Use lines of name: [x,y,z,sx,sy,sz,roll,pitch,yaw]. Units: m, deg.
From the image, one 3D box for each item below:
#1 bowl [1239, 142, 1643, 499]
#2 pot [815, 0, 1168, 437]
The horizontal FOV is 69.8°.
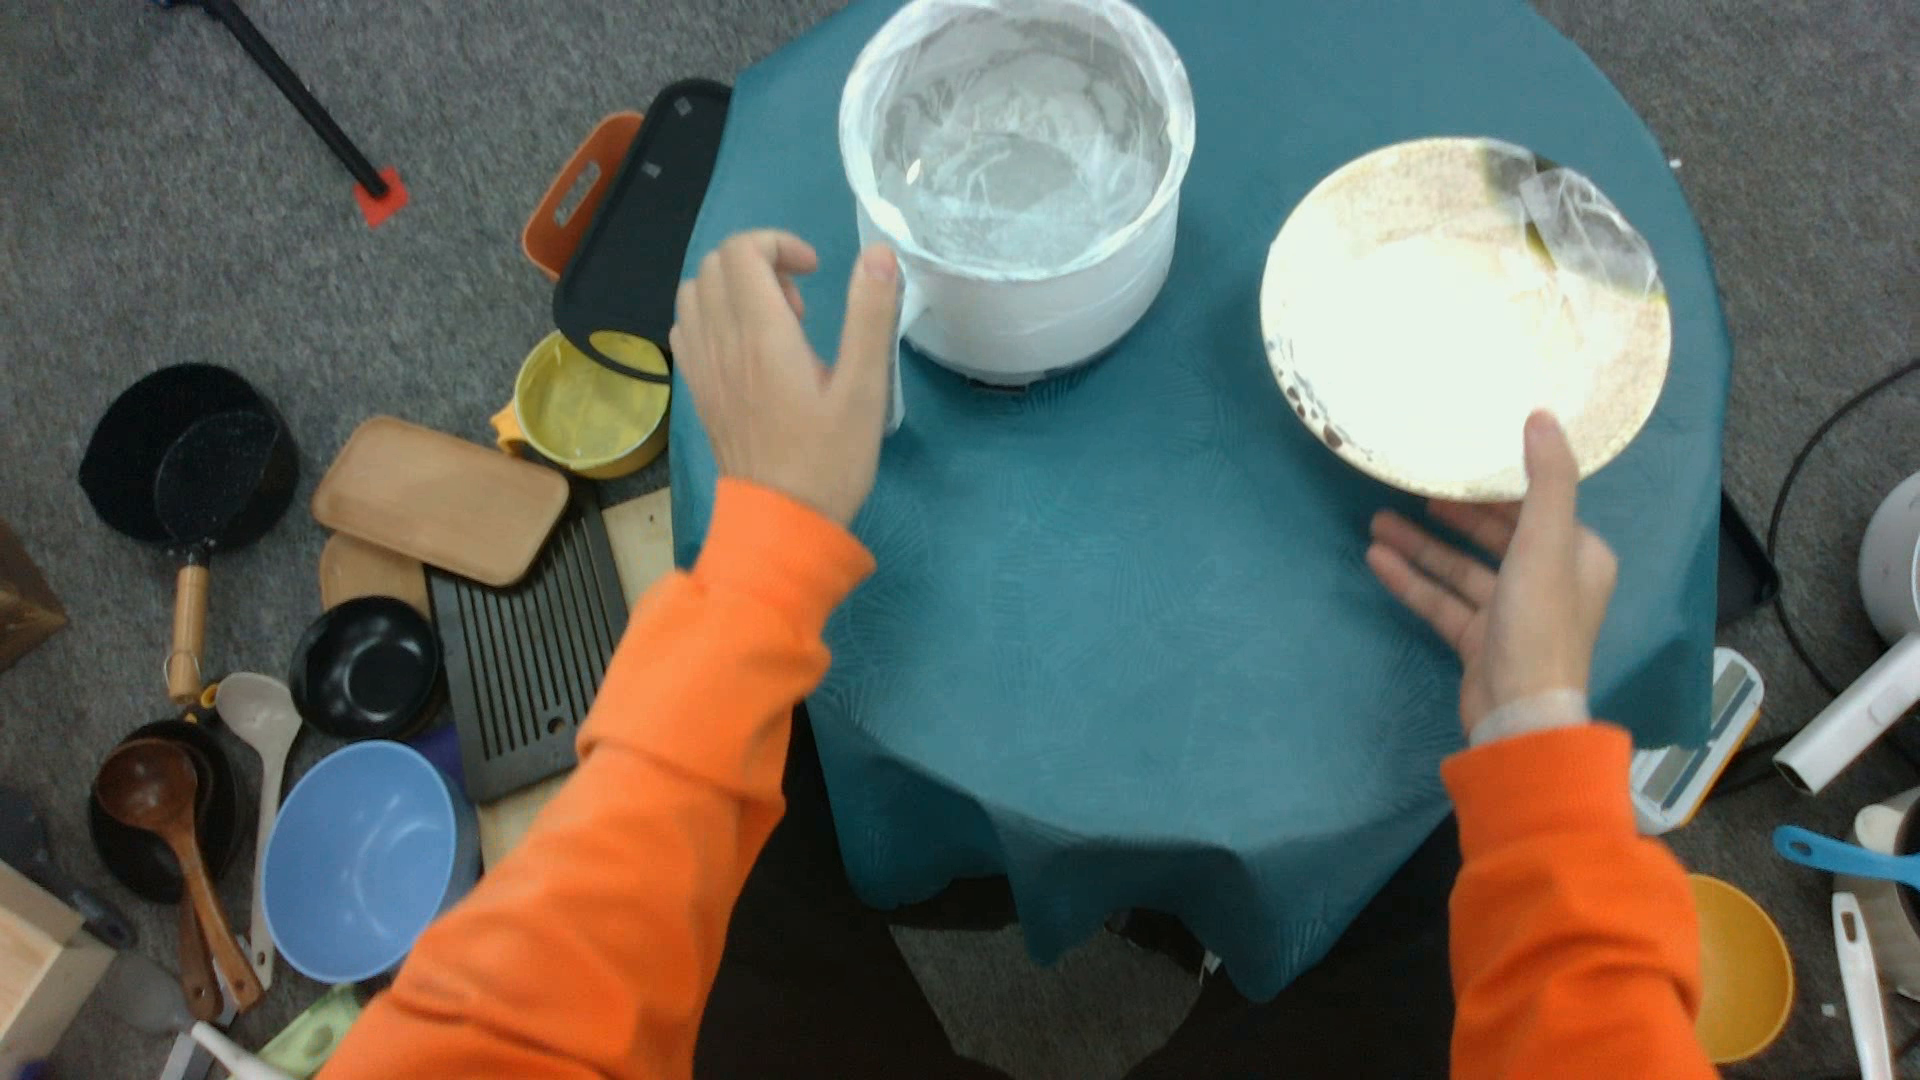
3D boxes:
bowl: [0.249,-0.107,0.744,0.204,0.078,0.204,-1,72,3]
pot: [0.003,-0.163,0.741,0.179,0.136,0.234,33,75,13]
